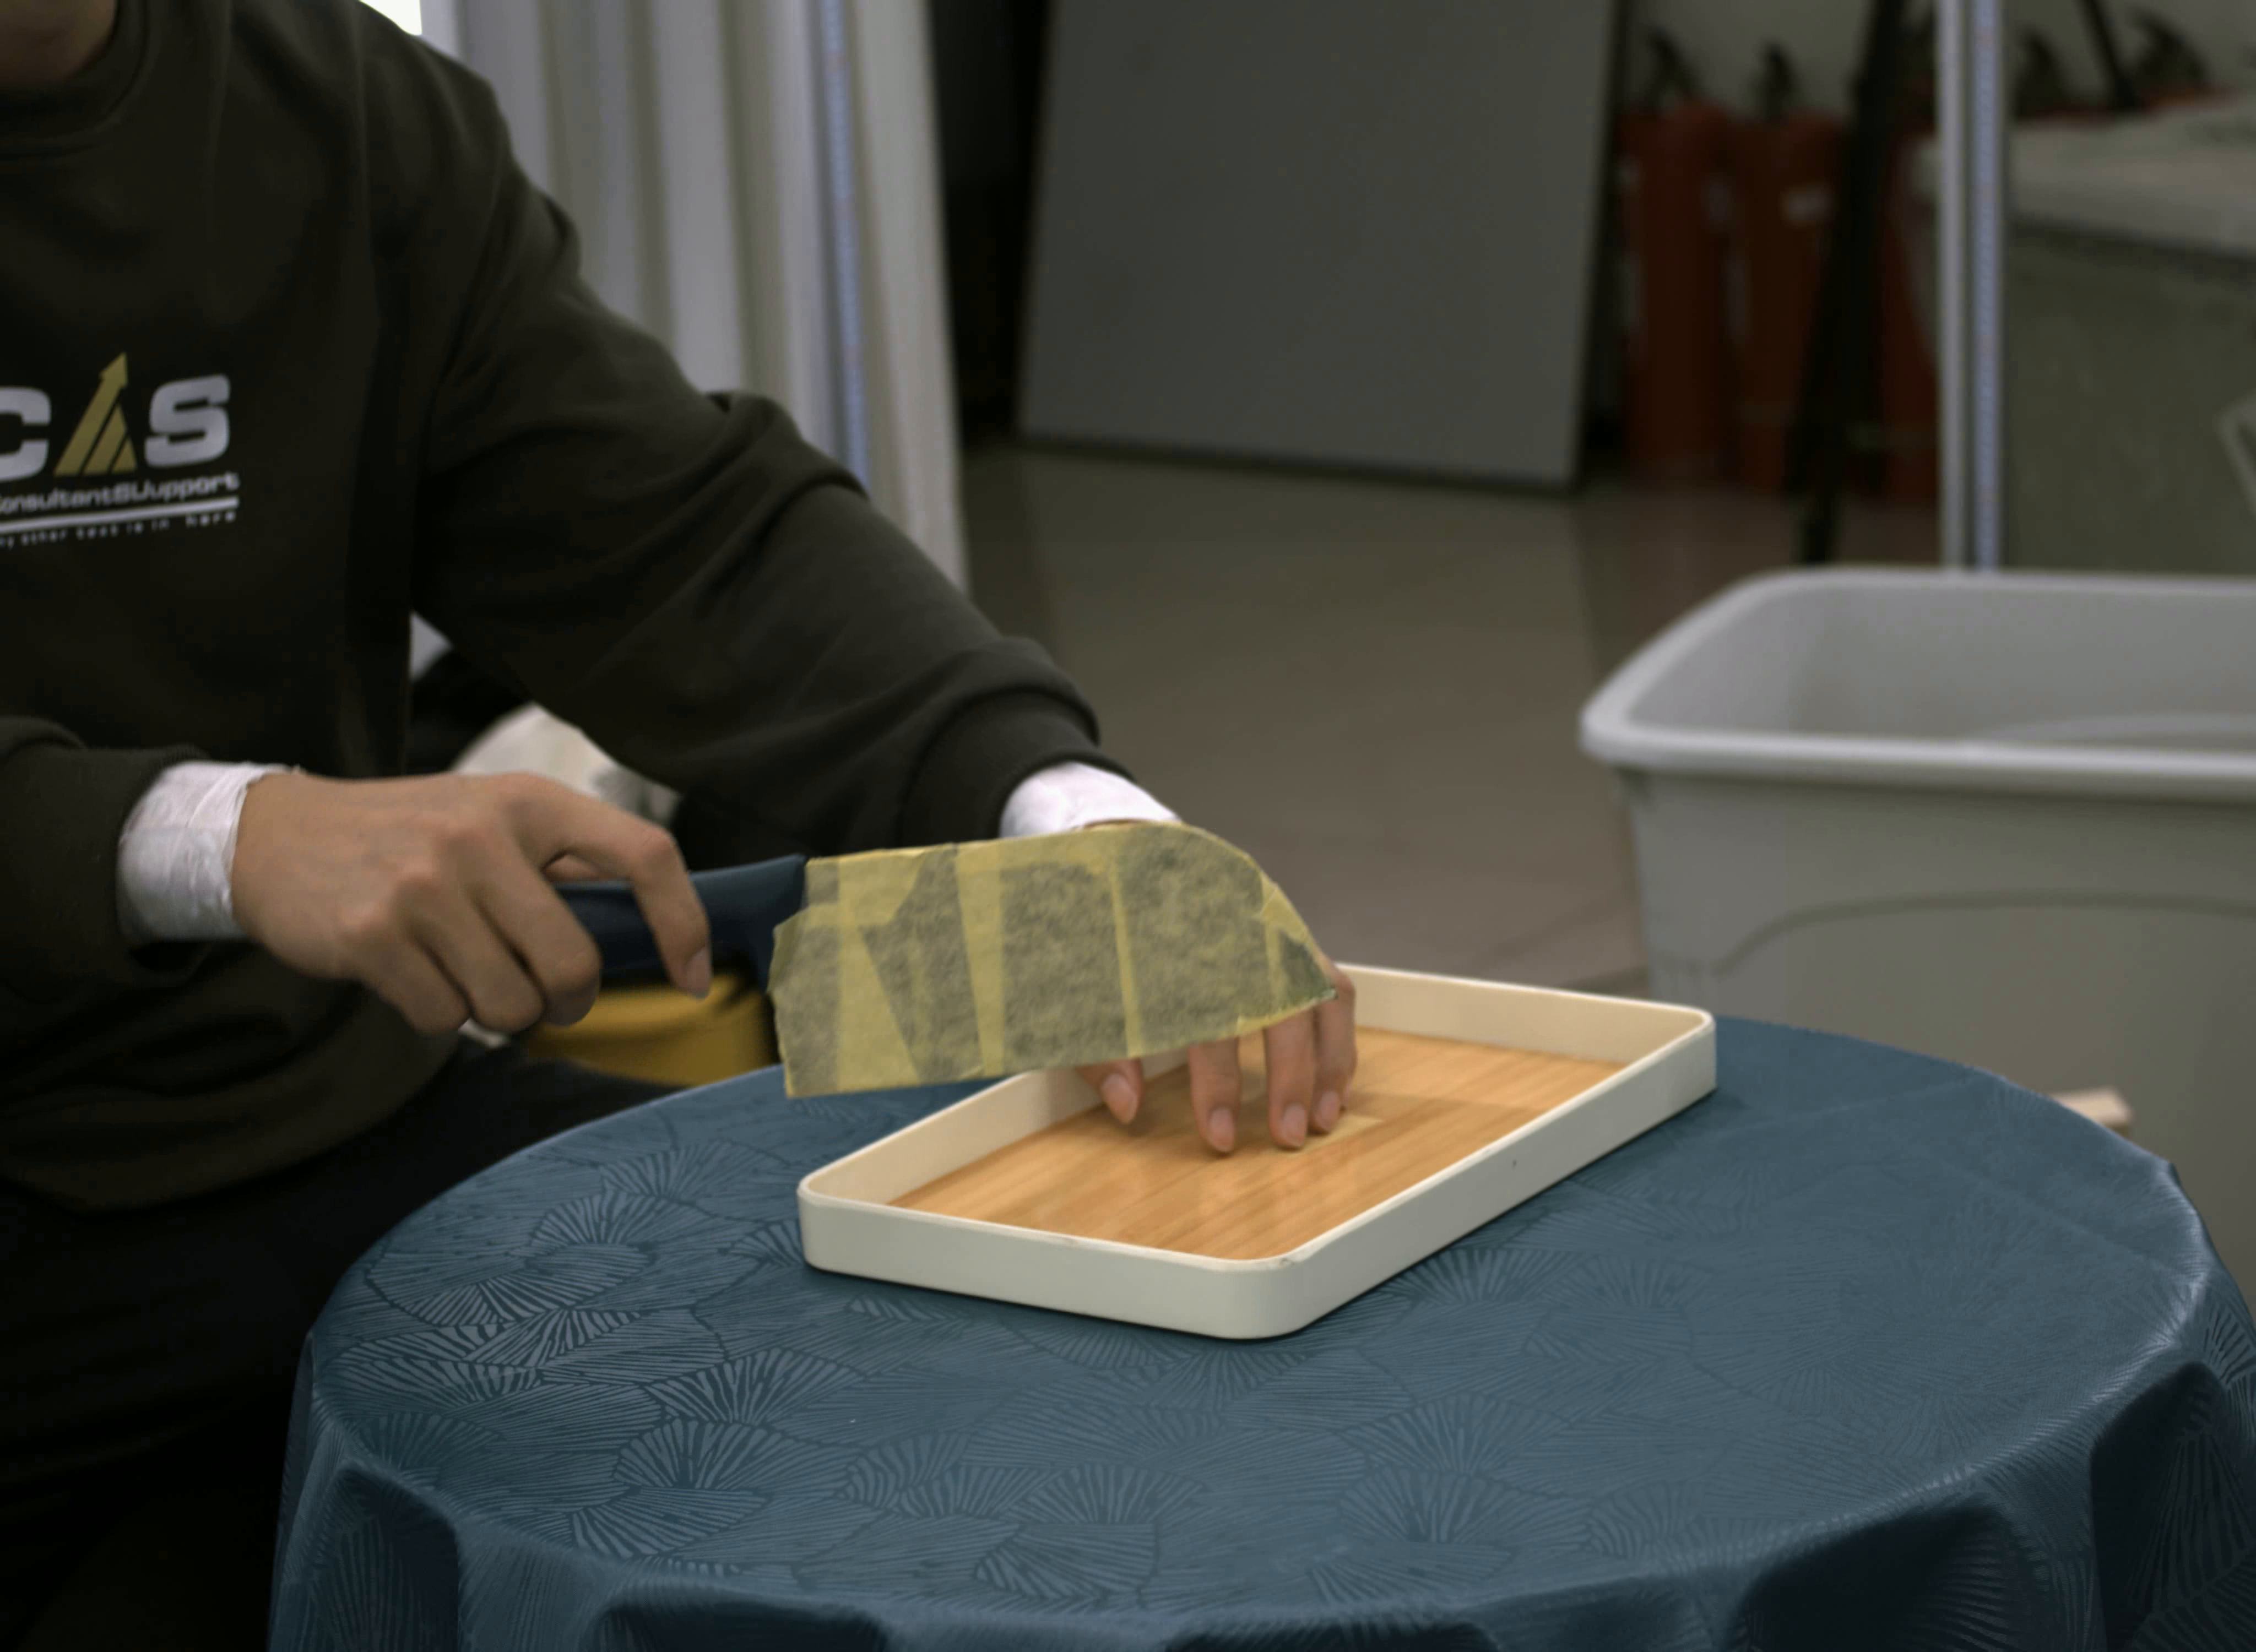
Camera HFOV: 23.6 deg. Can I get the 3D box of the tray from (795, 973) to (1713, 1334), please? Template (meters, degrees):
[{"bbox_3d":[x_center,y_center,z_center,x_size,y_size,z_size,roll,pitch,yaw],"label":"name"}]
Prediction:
[{"bbox_3d":[0.047,0.104,1.779,0.193,0.028,0.295,4,15,35],"label":"tray"}]

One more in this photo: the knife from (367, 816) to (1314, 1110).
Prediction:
[{"bbox_3d":[-0.085,0.044,1.632,0.285,0.082,0.027,-4,-1,0],"label":"knife"}]
